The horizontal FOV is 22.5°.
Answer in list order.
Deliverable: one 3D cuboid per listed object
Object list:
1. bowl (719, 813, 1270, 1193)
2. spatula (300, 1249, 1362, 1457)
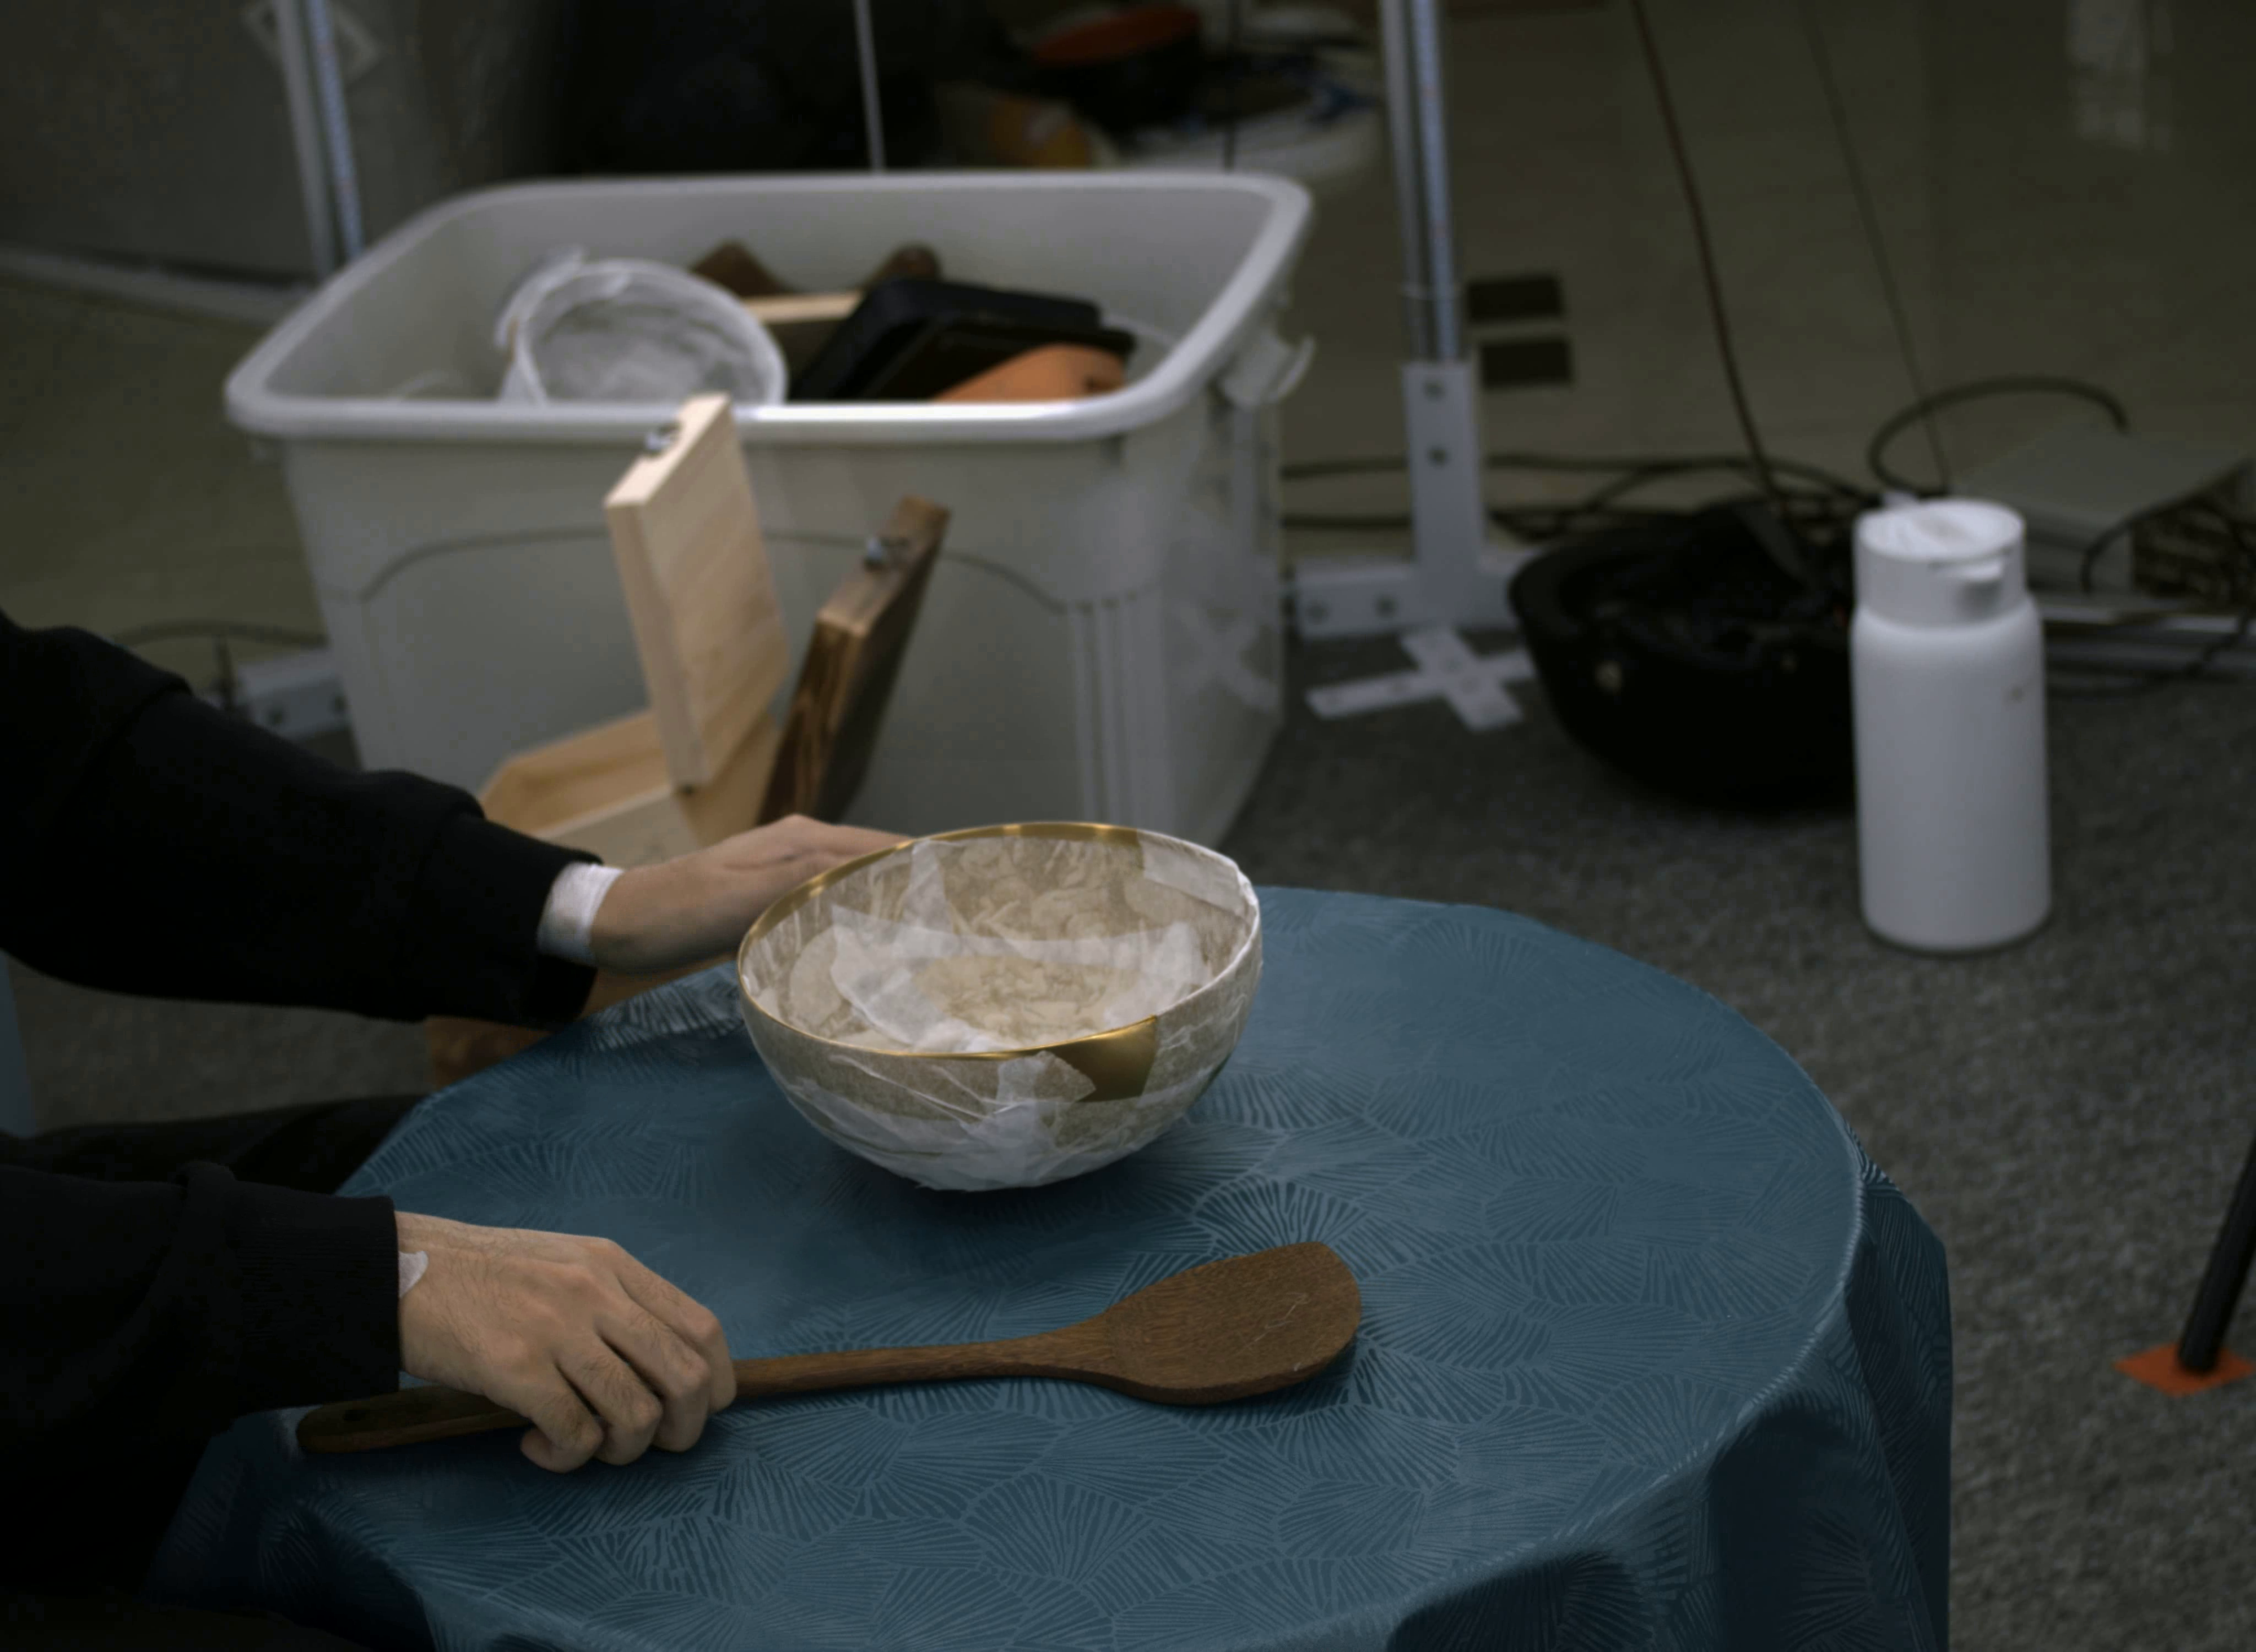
[{"bbox_3d":[-0.047,0.081,2.179,0.214,0.096,0.211,-6,26,3],"label":"bowl"},{"bbox_3d":[-0.108,0.196,2.040,0.385,0.016,0.094,-6,25,1],"label":"spatula"}]
